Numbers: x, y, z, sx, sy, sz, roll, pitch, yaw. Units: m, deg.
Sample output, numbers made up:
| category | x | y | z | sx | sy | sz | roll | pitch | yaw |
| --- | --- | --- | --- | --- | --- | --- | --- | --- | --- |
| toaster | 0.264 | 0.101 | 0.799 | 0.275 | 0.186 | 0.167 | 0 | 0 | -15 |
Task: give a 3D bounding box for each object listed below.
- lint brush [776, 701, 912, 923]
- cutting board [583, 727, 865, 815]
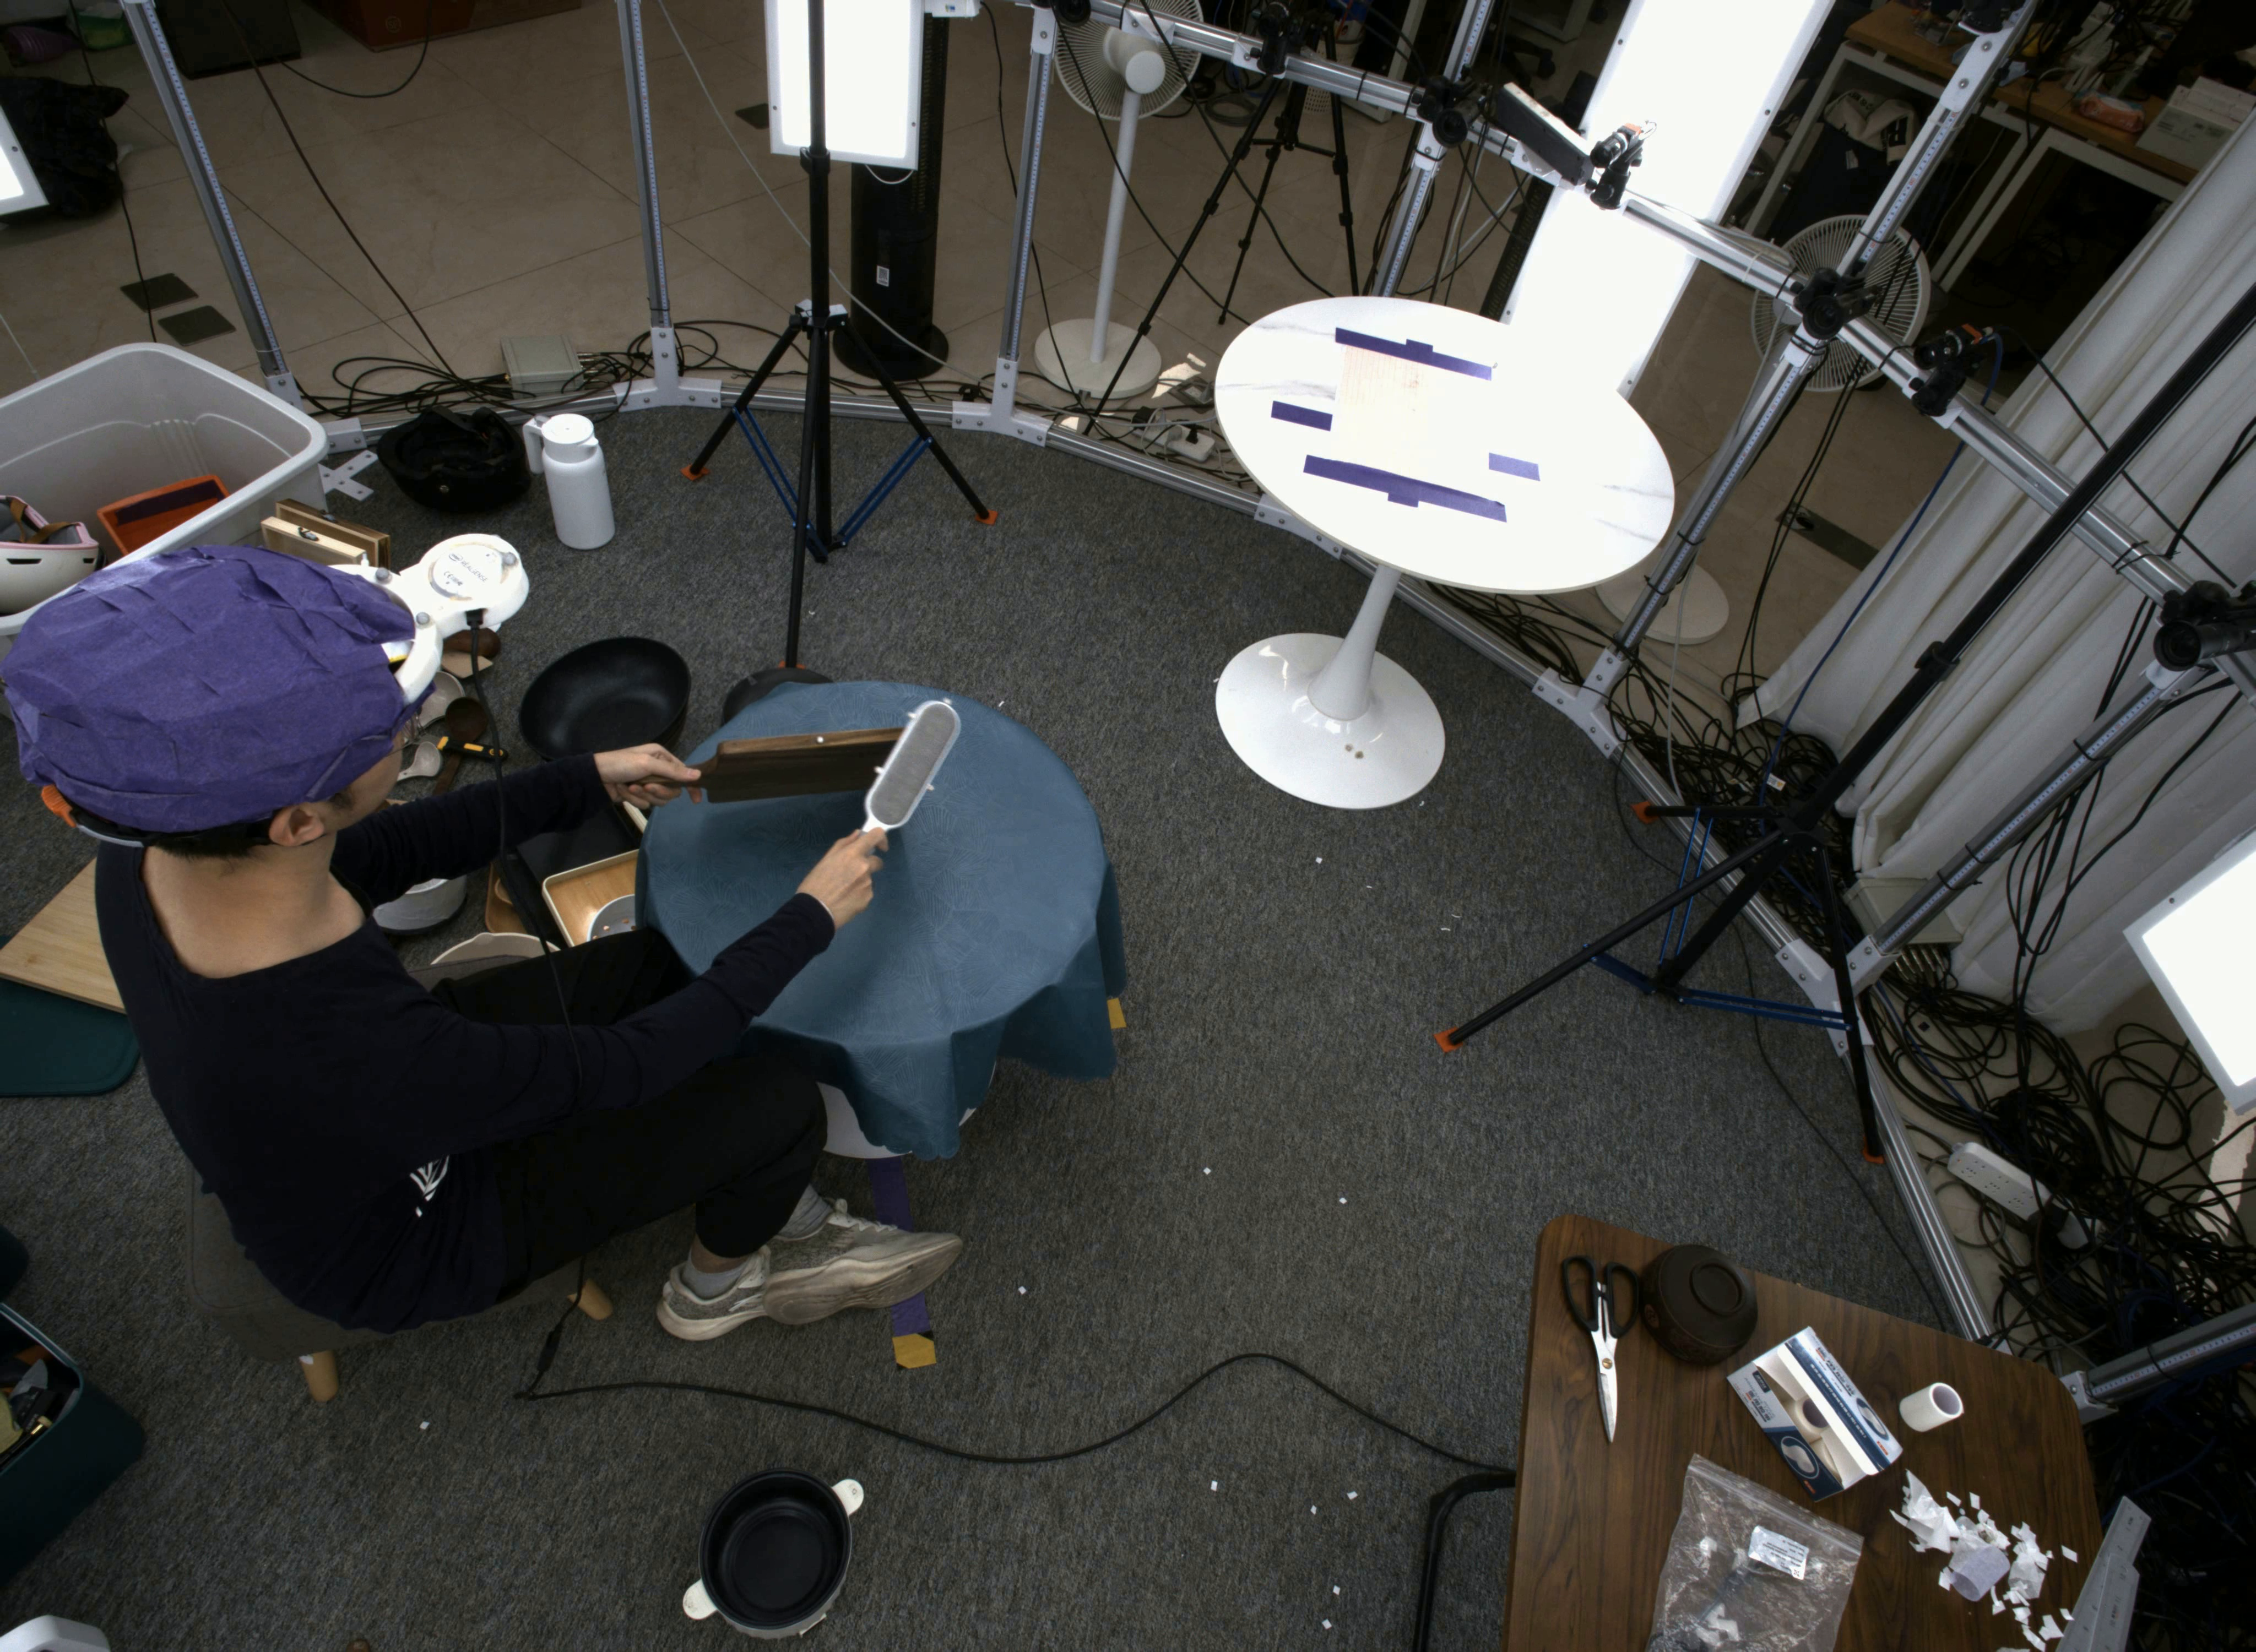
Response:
| category | x | y | z | sx | sy | sz | roll | pitch | yaw |
| --- | --- | --- | --- | --- | --- | --- | --- | --- | --- |
| lint brush | -0.346 | -0.022 | 1.571 | 0.061 | 0.020 | 0.308 | 35 | 66 | -25 |
| cutting board | -0.510 | -0.063 | 1.620 | 0.355 | 0.200 | 0.023 | -10 | 77 | -26 |
